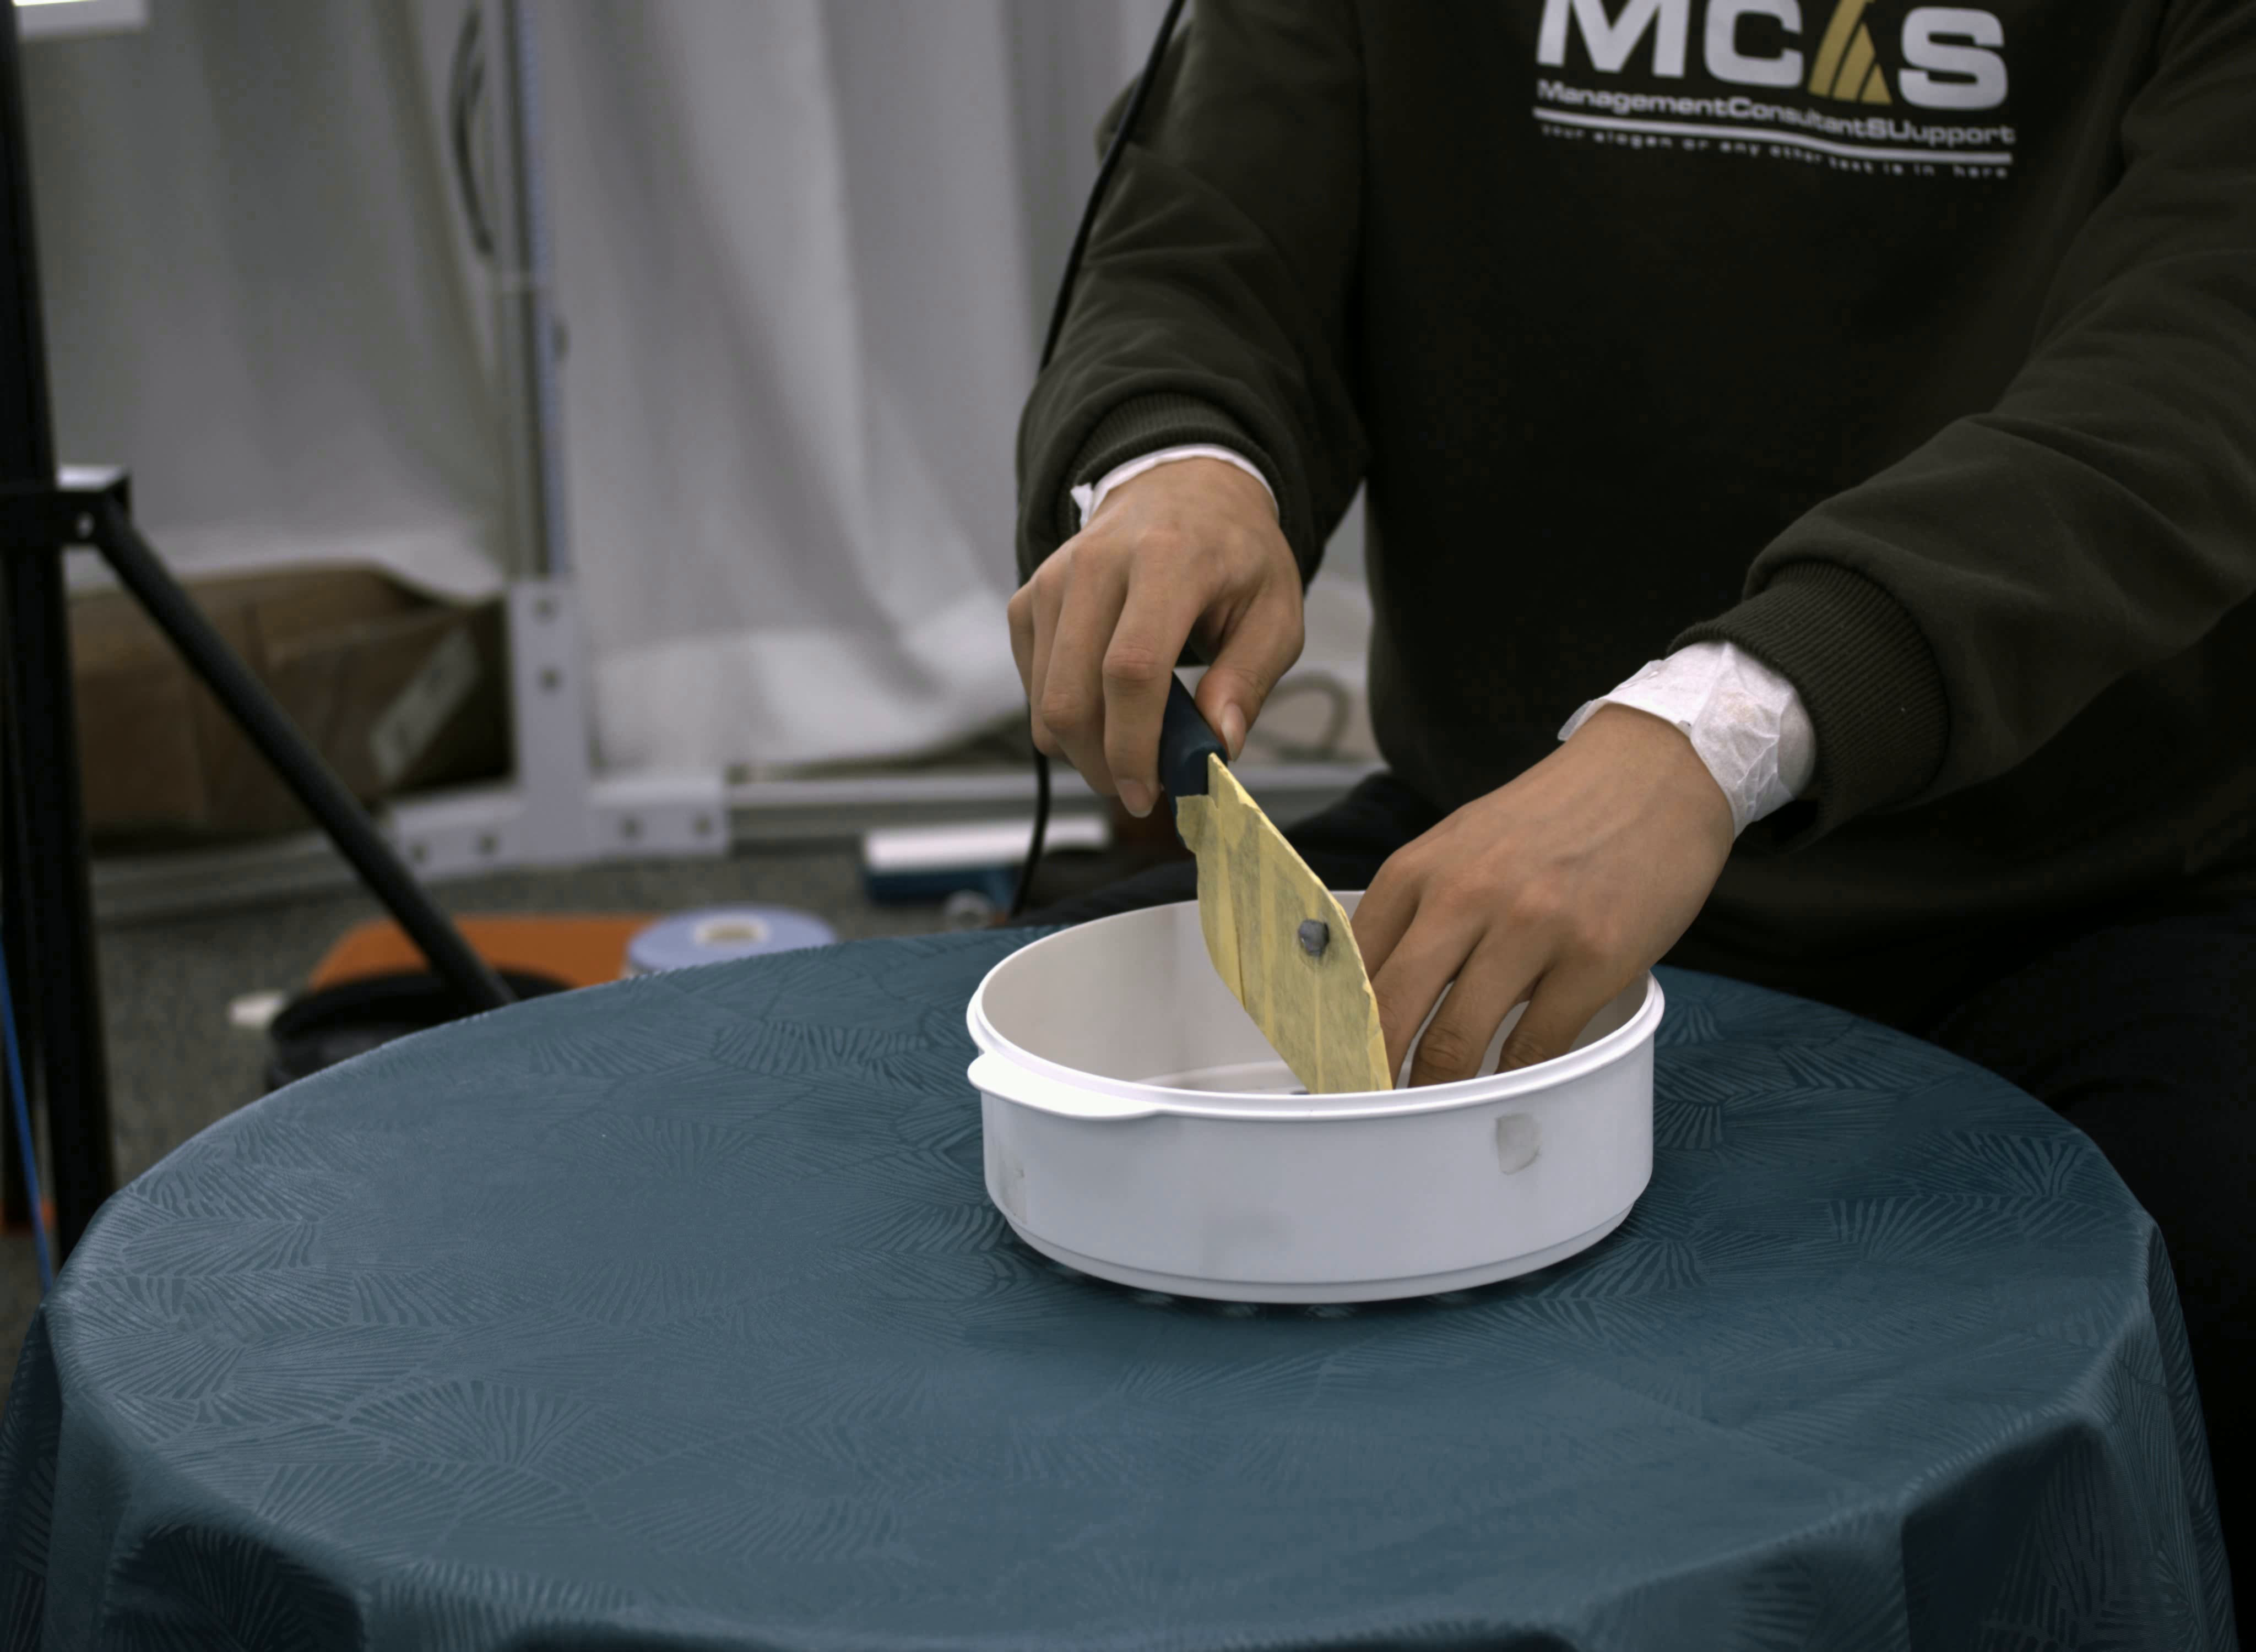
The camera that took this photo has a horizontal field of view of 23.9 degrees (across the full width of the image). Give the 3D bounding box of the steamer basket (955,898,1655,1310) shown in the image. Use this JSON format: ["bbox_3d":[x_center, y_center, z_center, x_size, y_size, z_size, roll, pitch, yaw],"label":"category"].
[{"bbox_3d":[0.051,0.080,1.530,0.225,0.069,0.206,-13,20,-39],"label":"steamer basket"}]

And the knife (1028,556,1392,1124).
[{"bbox_3d":[0.024,0.003,1.556,0.027,0.080,0.295,-19,36,-9],"label":"knife"}]
